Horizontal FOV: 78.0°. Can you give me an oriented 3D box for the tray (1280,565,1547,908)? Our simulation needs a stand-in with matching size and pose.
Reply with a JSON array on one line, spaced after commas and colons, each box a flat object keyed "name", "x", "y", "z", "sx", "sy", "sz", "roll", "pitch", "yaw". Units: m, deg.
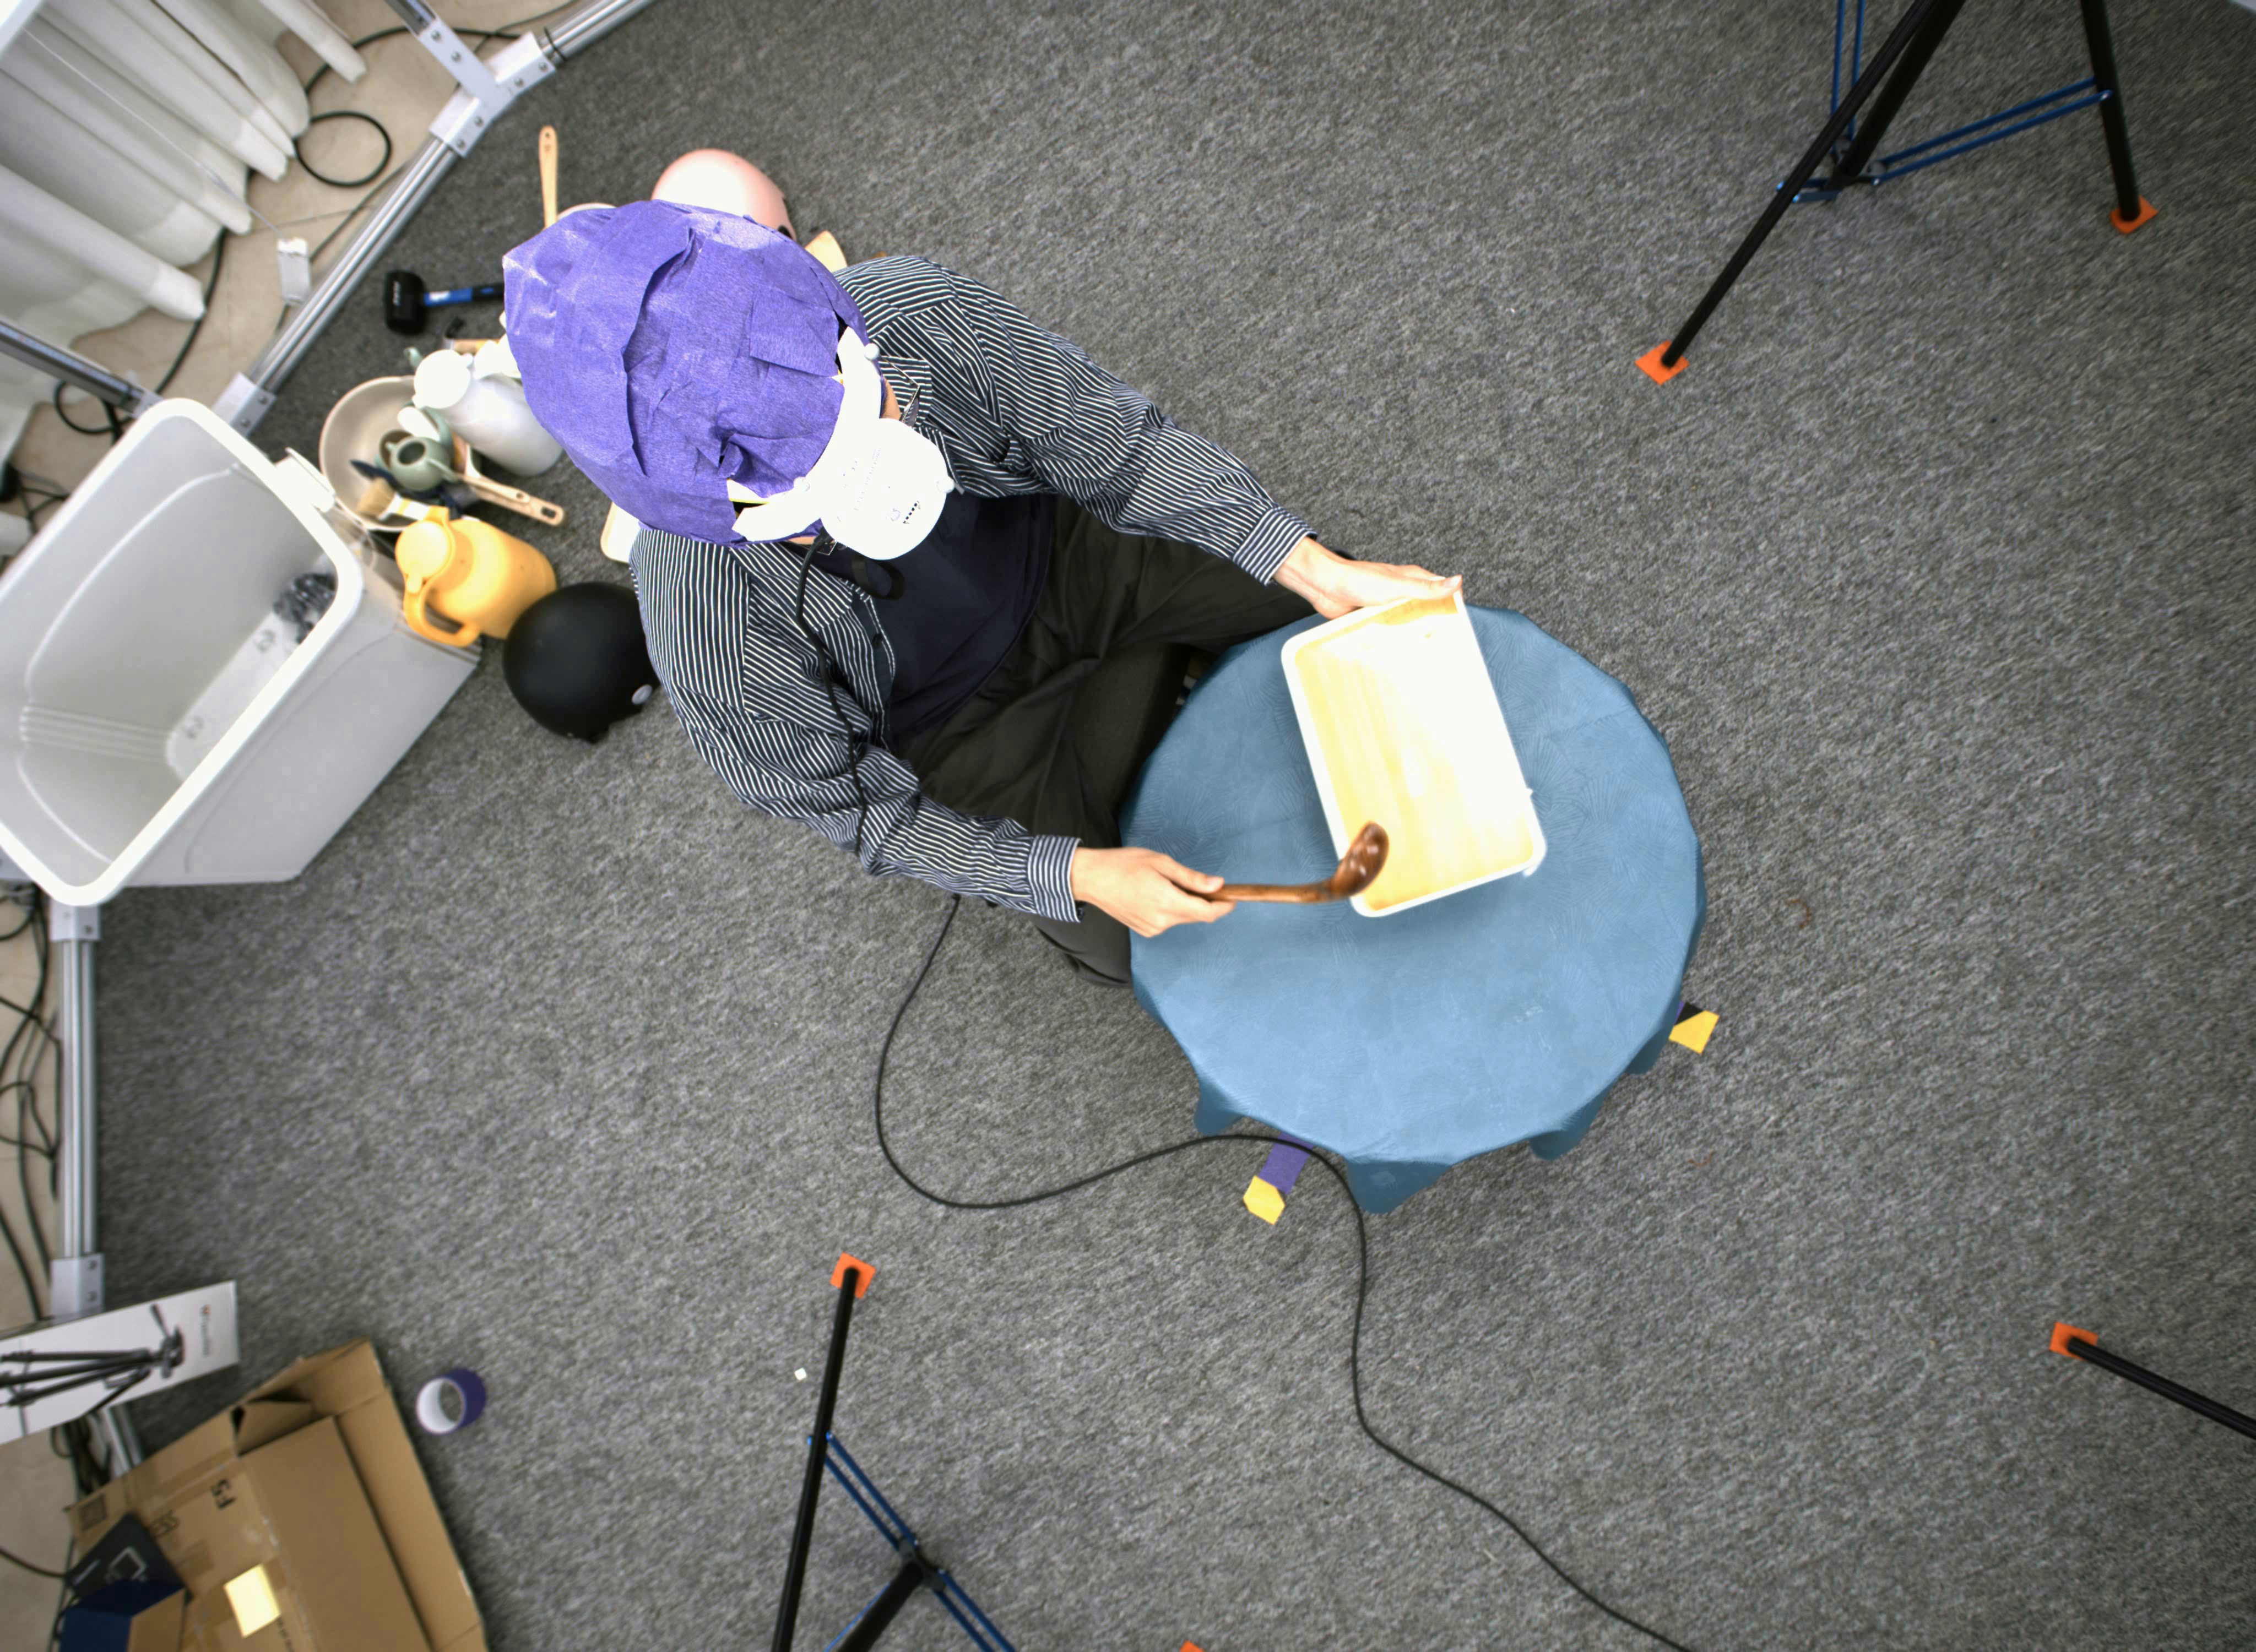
[{"name": "tray", "x": 0.274, "y": -0.087, "z": 1.342, "sx": 0.194, "sy": 0.027, "sz": 0.297, "roll": -20, "pitch": 78, "yaw": 26}]

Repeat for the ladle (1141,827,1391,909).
[{"name": "ladle", "x": 0.122, "y": 0.042, "z": 1.321, "sx": 0.276, "sy": 0.080, "sz": 0.077, "roll": -2, "pitch": 104, "yaw": 35}]
